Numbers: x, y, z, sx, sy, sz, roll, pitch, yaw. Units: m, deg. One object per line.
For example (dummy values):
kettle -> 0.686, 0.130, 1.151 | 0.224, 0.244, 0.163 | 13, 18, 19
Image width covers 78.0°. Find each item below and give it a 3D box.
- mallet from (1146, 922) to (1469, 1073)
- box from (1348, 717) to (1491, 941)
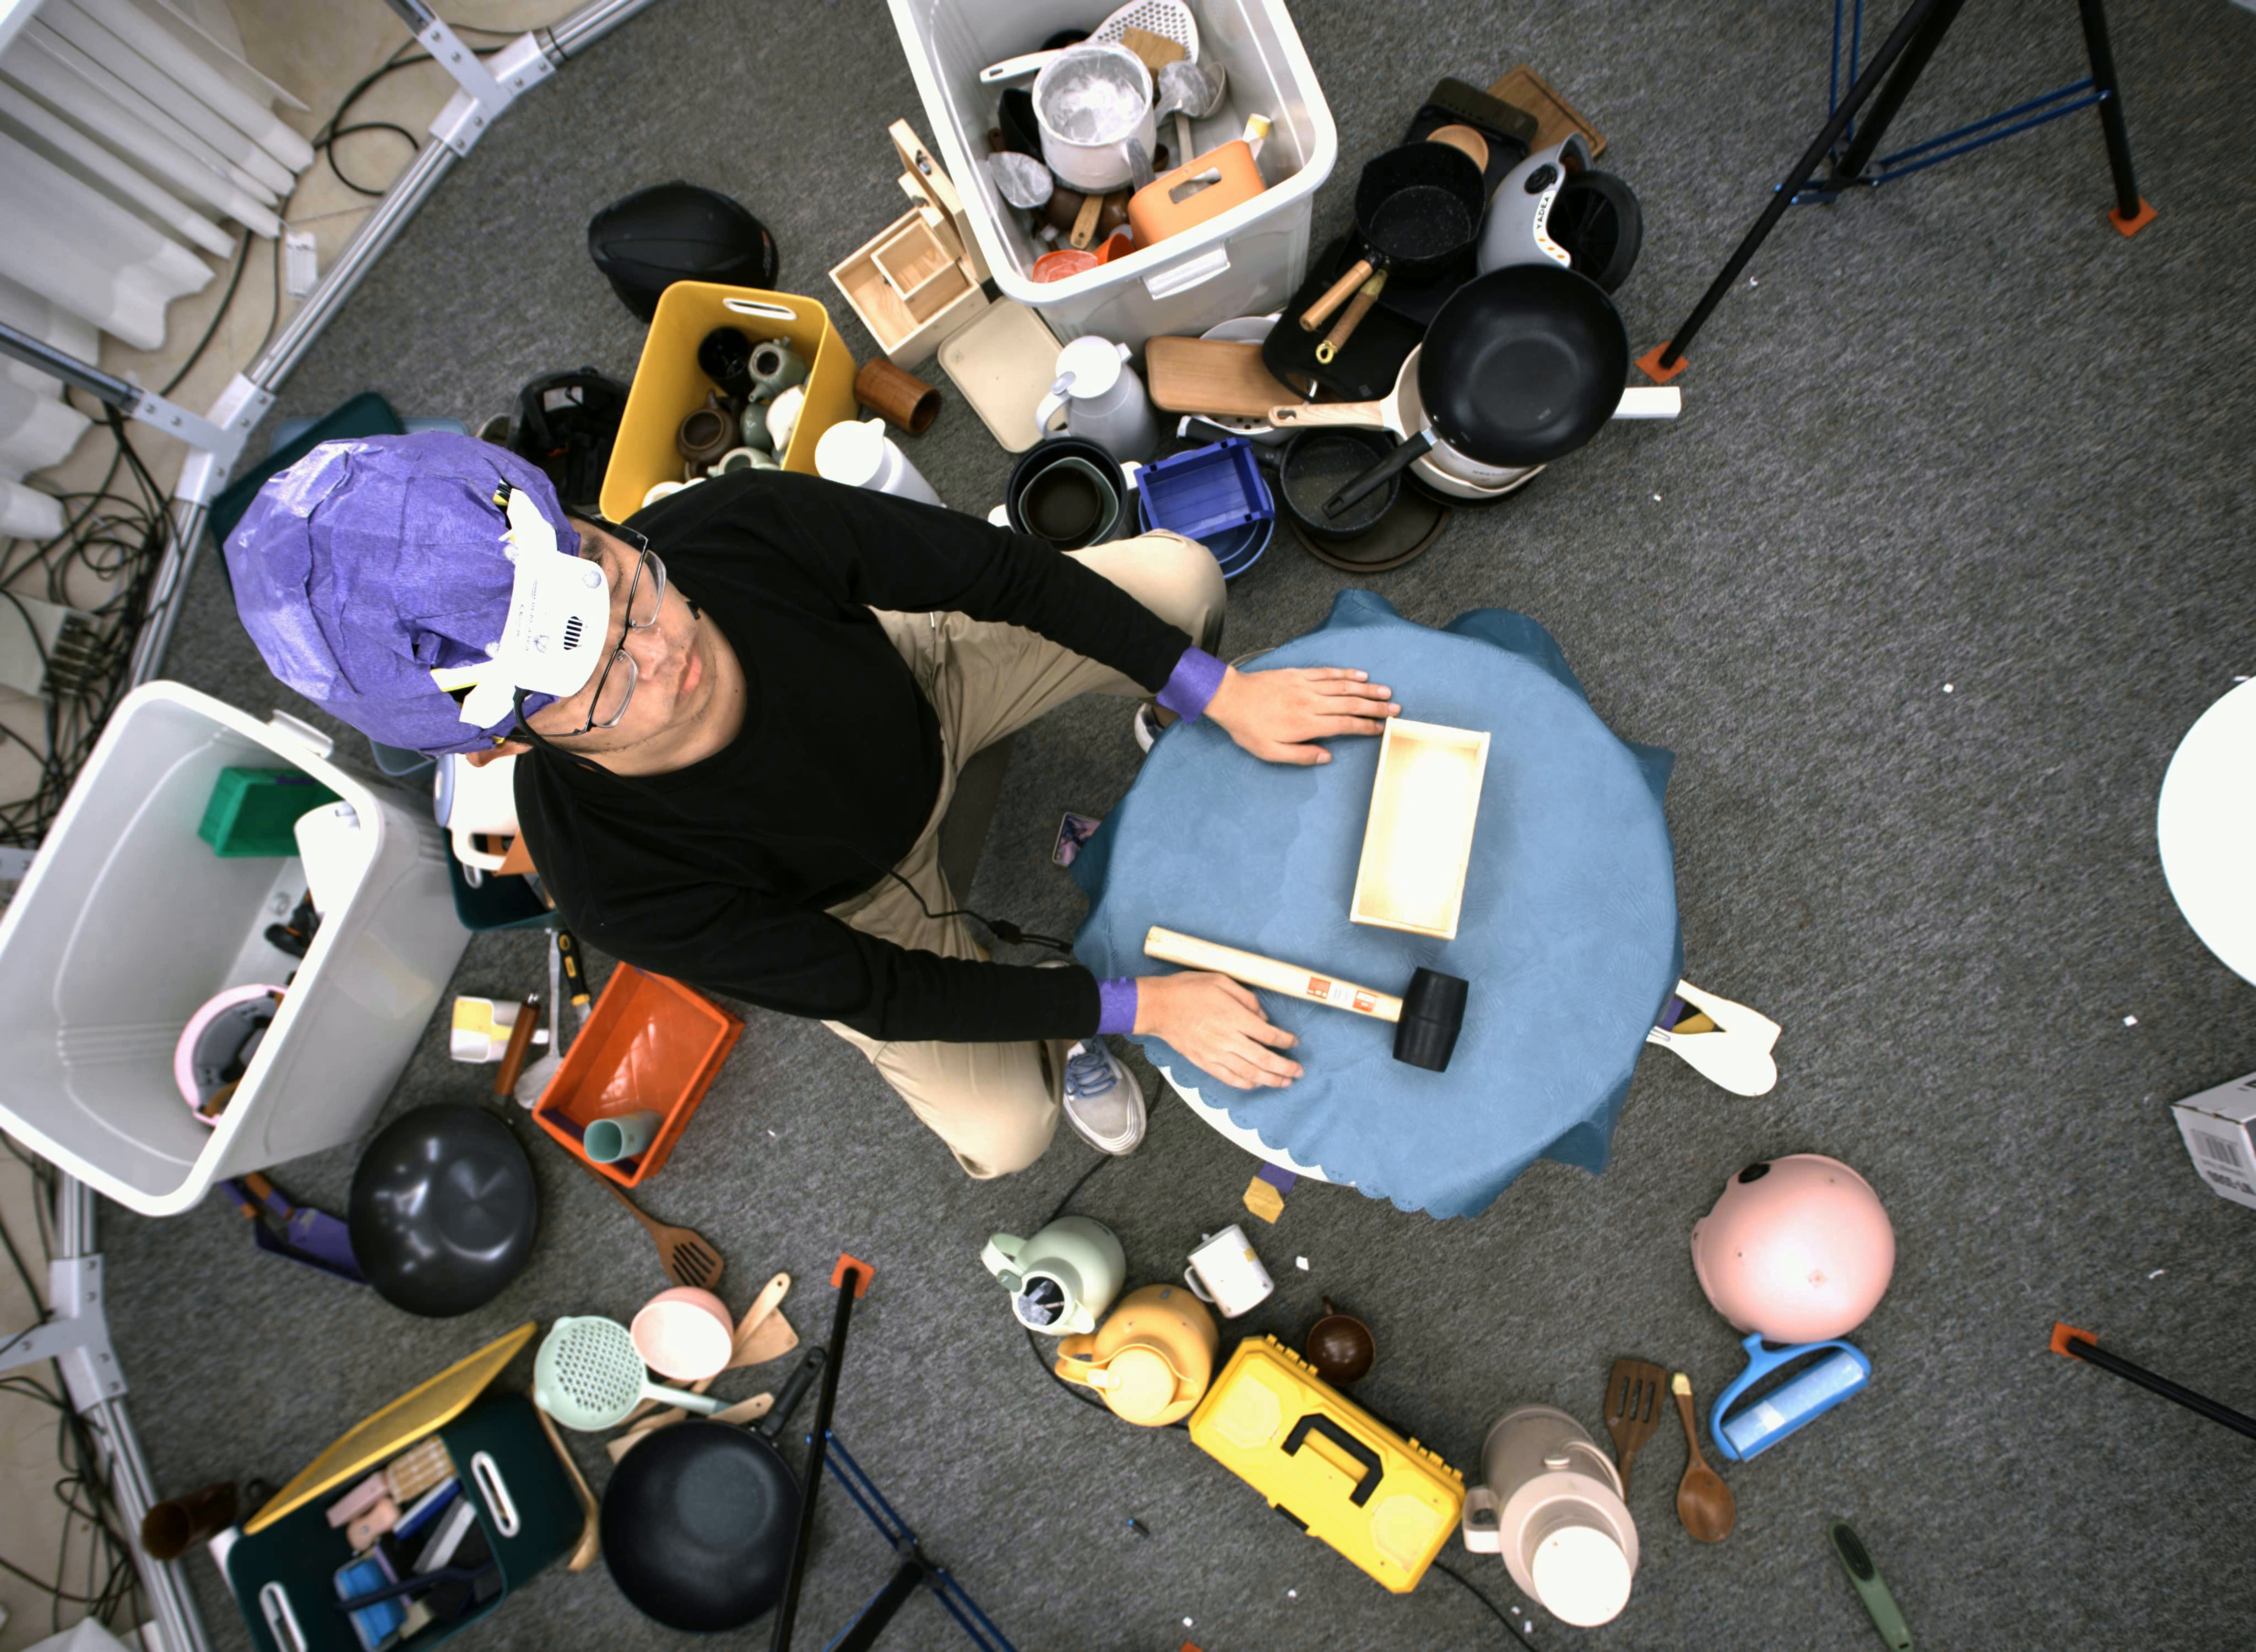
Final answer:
mallet -> 0.180, 0.161, 1.444 | 0.339, 0.064, 0.101 | 16, 87, 12
box -> 0.300, 0.003, 1.418 | 0.108, 0.080, 0.211 | 11, 89, 12
